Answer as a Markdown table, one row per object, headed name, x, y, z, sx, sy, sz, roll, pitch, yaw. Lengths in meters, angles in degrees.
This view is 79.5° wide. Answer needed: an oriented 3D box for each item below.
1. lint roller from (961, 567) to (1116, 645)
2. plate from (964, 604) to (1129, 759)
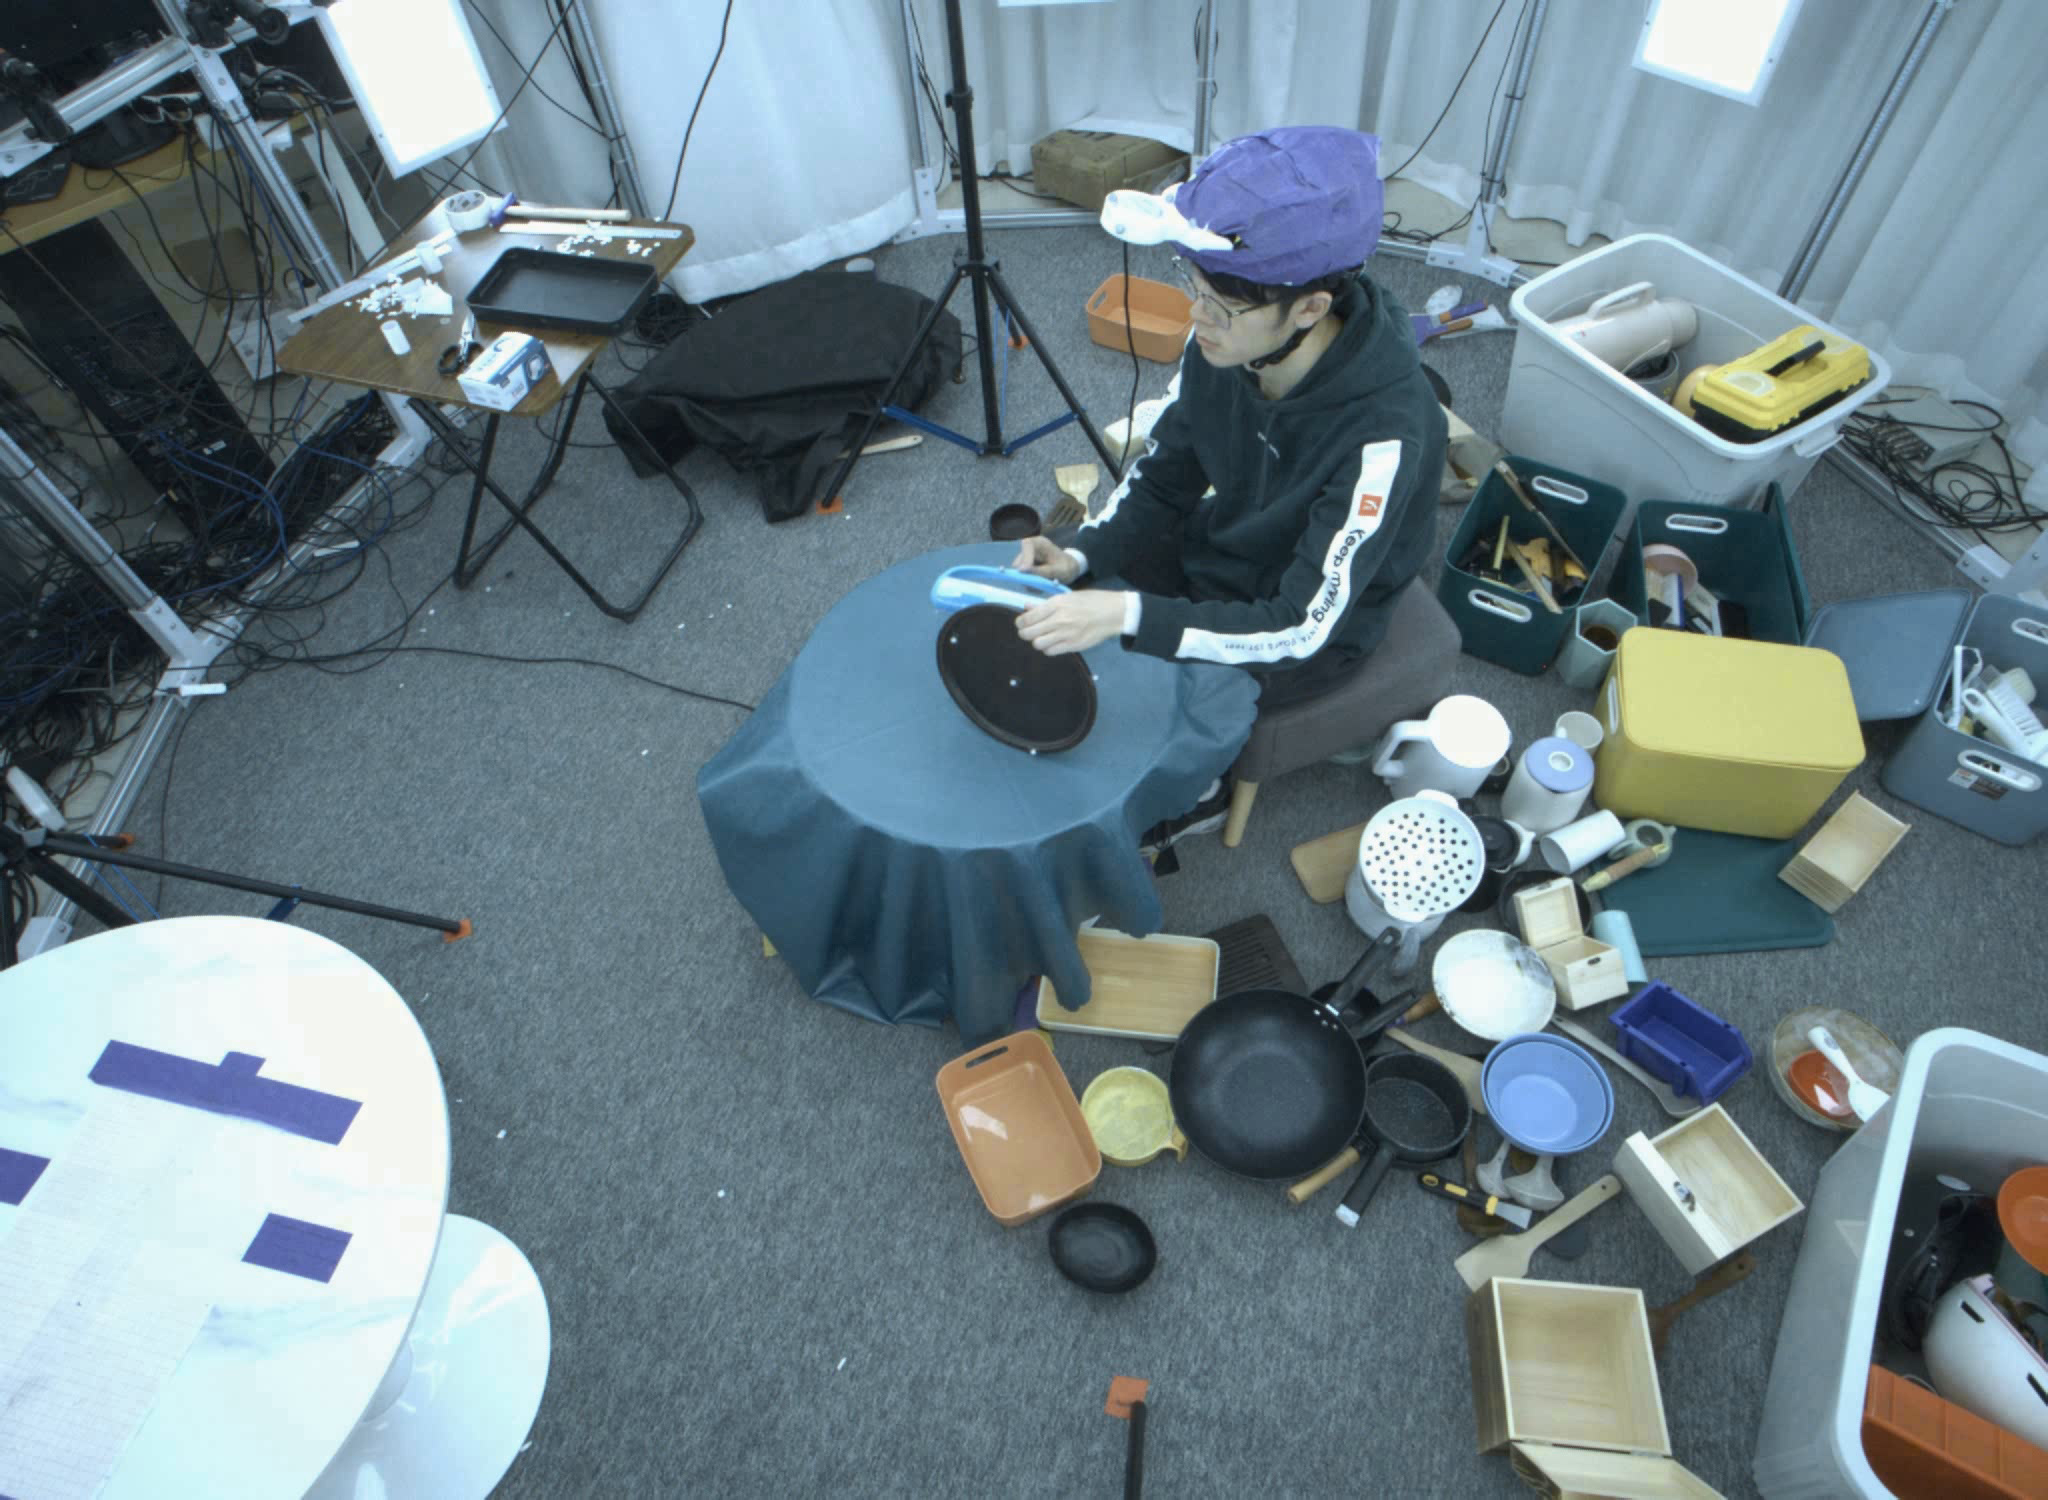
| name | x | y | z | sx | sy | sz | roll | pitch | yaw |
| --- | --- | --- | --- | --- | --- | --- | --- | --- | --- |
| lint roller | 0.041 | -0.222 | 1.747 | 0.226 | 0.068 | 0.181 | 15 | 36 | 16 |
| plate | 0.031 | -0.094 | 1.697 | 0.251 | 0.257 | 0.029 | 22 | 49 | 17 |
